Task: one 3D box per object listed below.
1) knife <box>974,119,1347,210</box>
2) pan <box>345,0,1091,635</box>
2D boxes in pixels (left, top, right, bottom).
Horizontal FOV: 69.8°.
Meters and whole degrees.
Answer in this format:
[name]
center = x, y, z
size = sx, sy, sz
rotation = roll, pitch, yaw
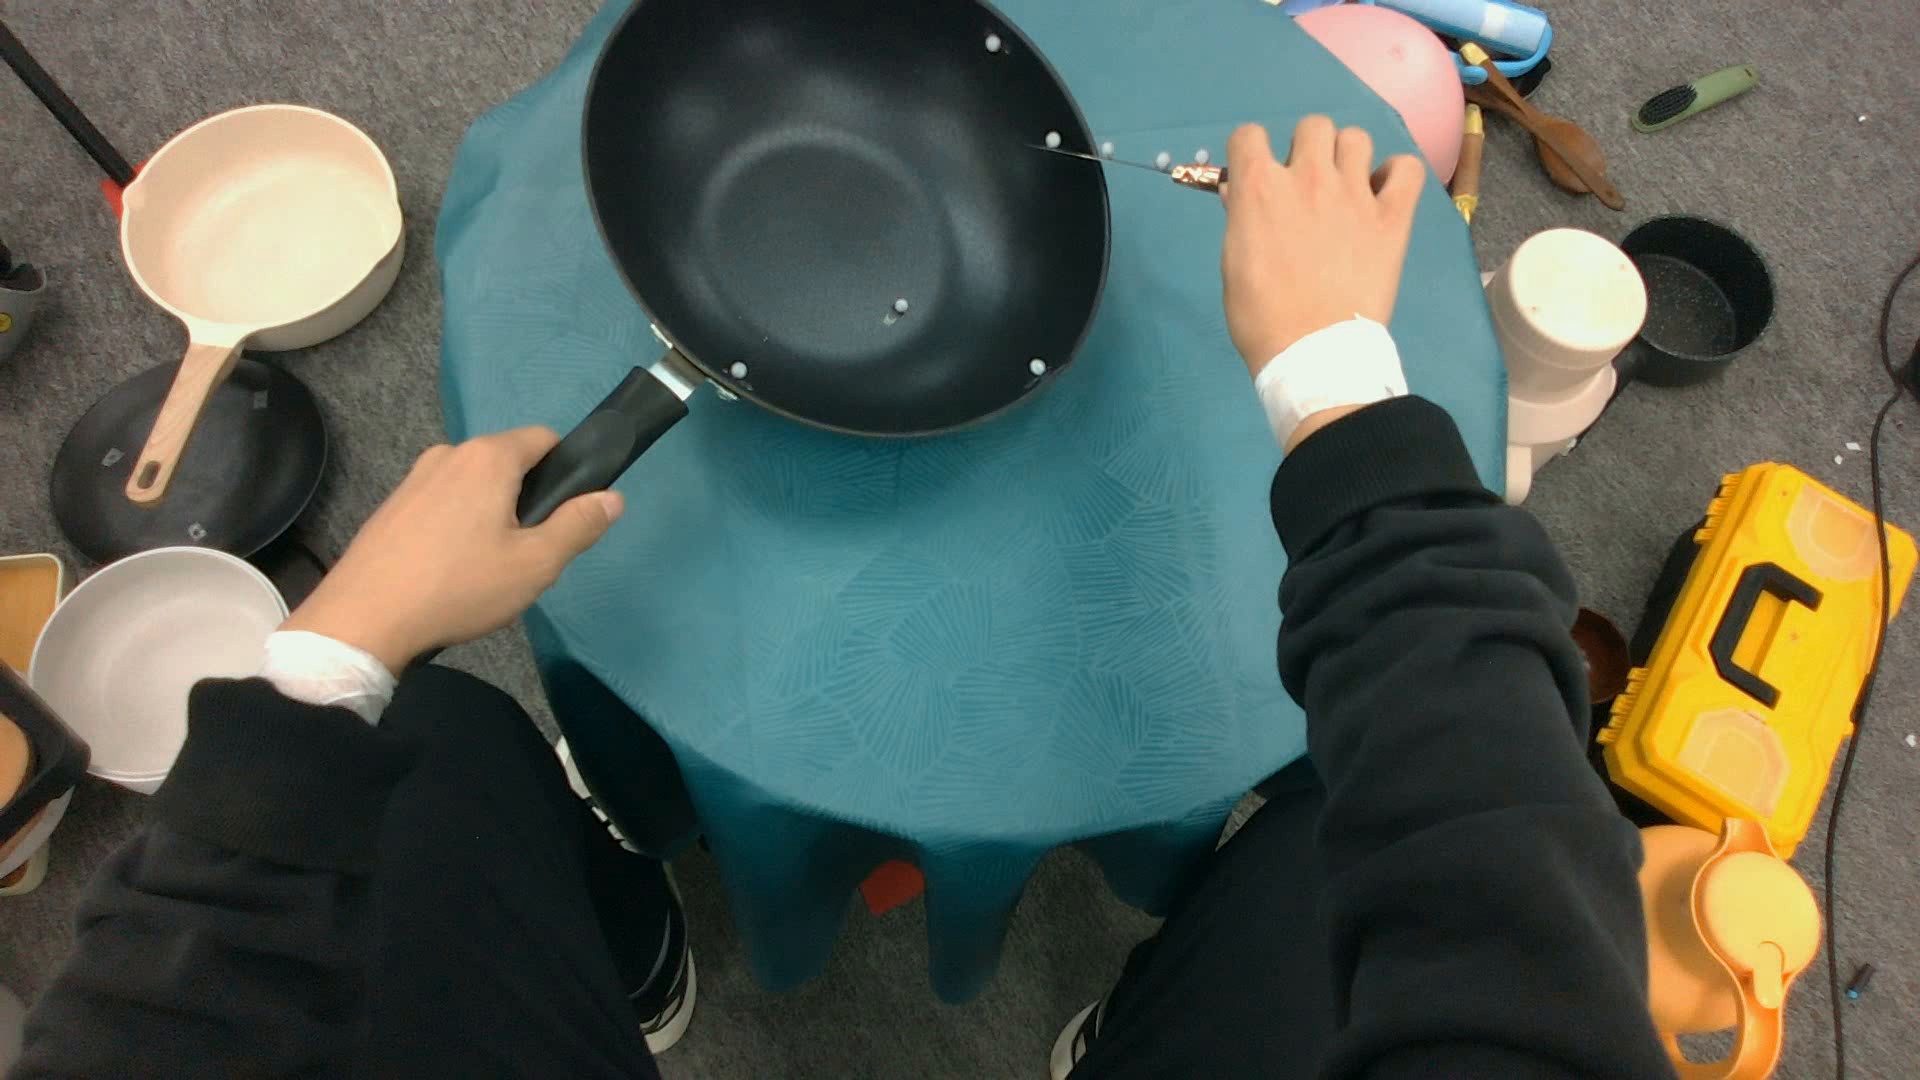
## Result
[knife]
center = 0.096, -0.200, 0.717
size = 0.225, 0.017, 0.026
rotation = 24, 37, 35
[pan]
center = -0.125, -0.120, 0.708
size = 0.288, 0.086, 0.465
rotation = 41, 67, -6
